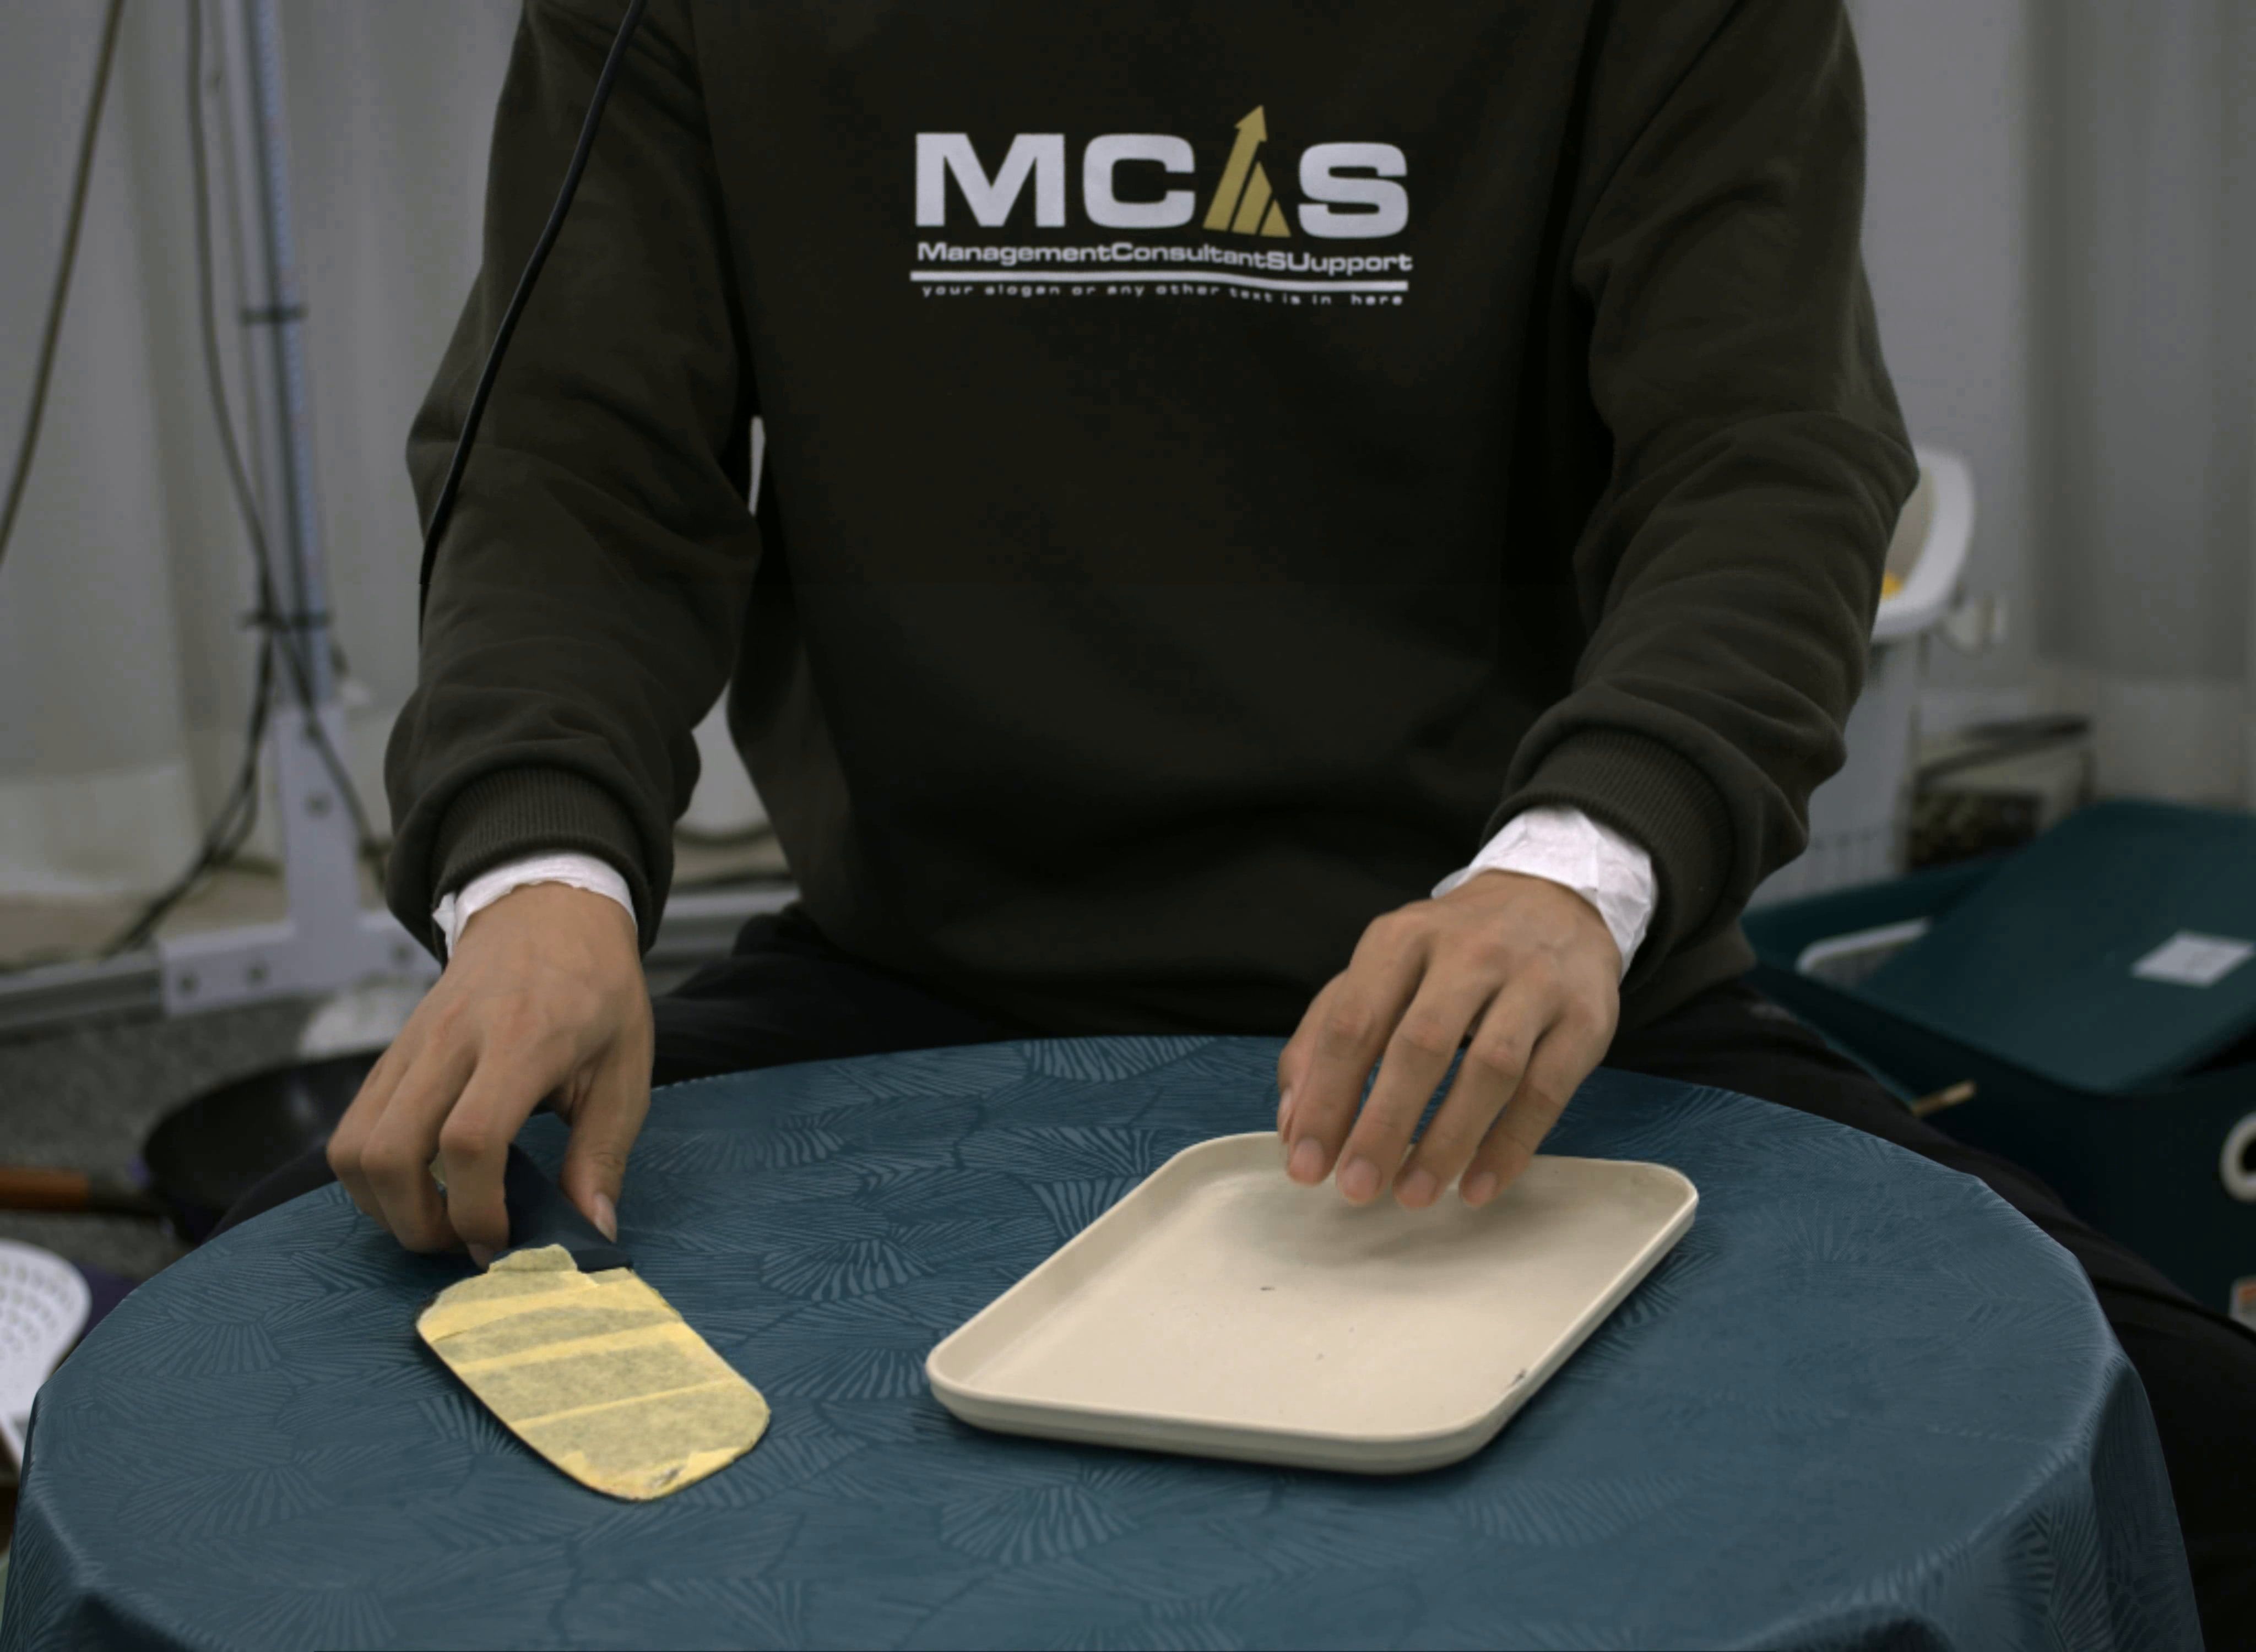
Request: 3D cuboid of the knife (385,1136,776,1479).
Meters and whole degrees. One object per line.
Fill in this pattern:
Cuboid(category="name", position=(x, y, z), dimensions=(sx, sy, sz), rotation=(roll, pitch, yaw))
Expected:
Cuboid(category="knife", position=(-0.176, 0.142, 1.615), dimensions=(0.080, 0.027, 0.292), rotation=(-5, 16, -22))

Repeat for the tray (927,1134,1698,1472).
Cuboid(category="tray", position=(0.058, 0.137, 1.587), dimensions=(0.171, 0.017, 0.240), rotation=(3, 16, 23))
